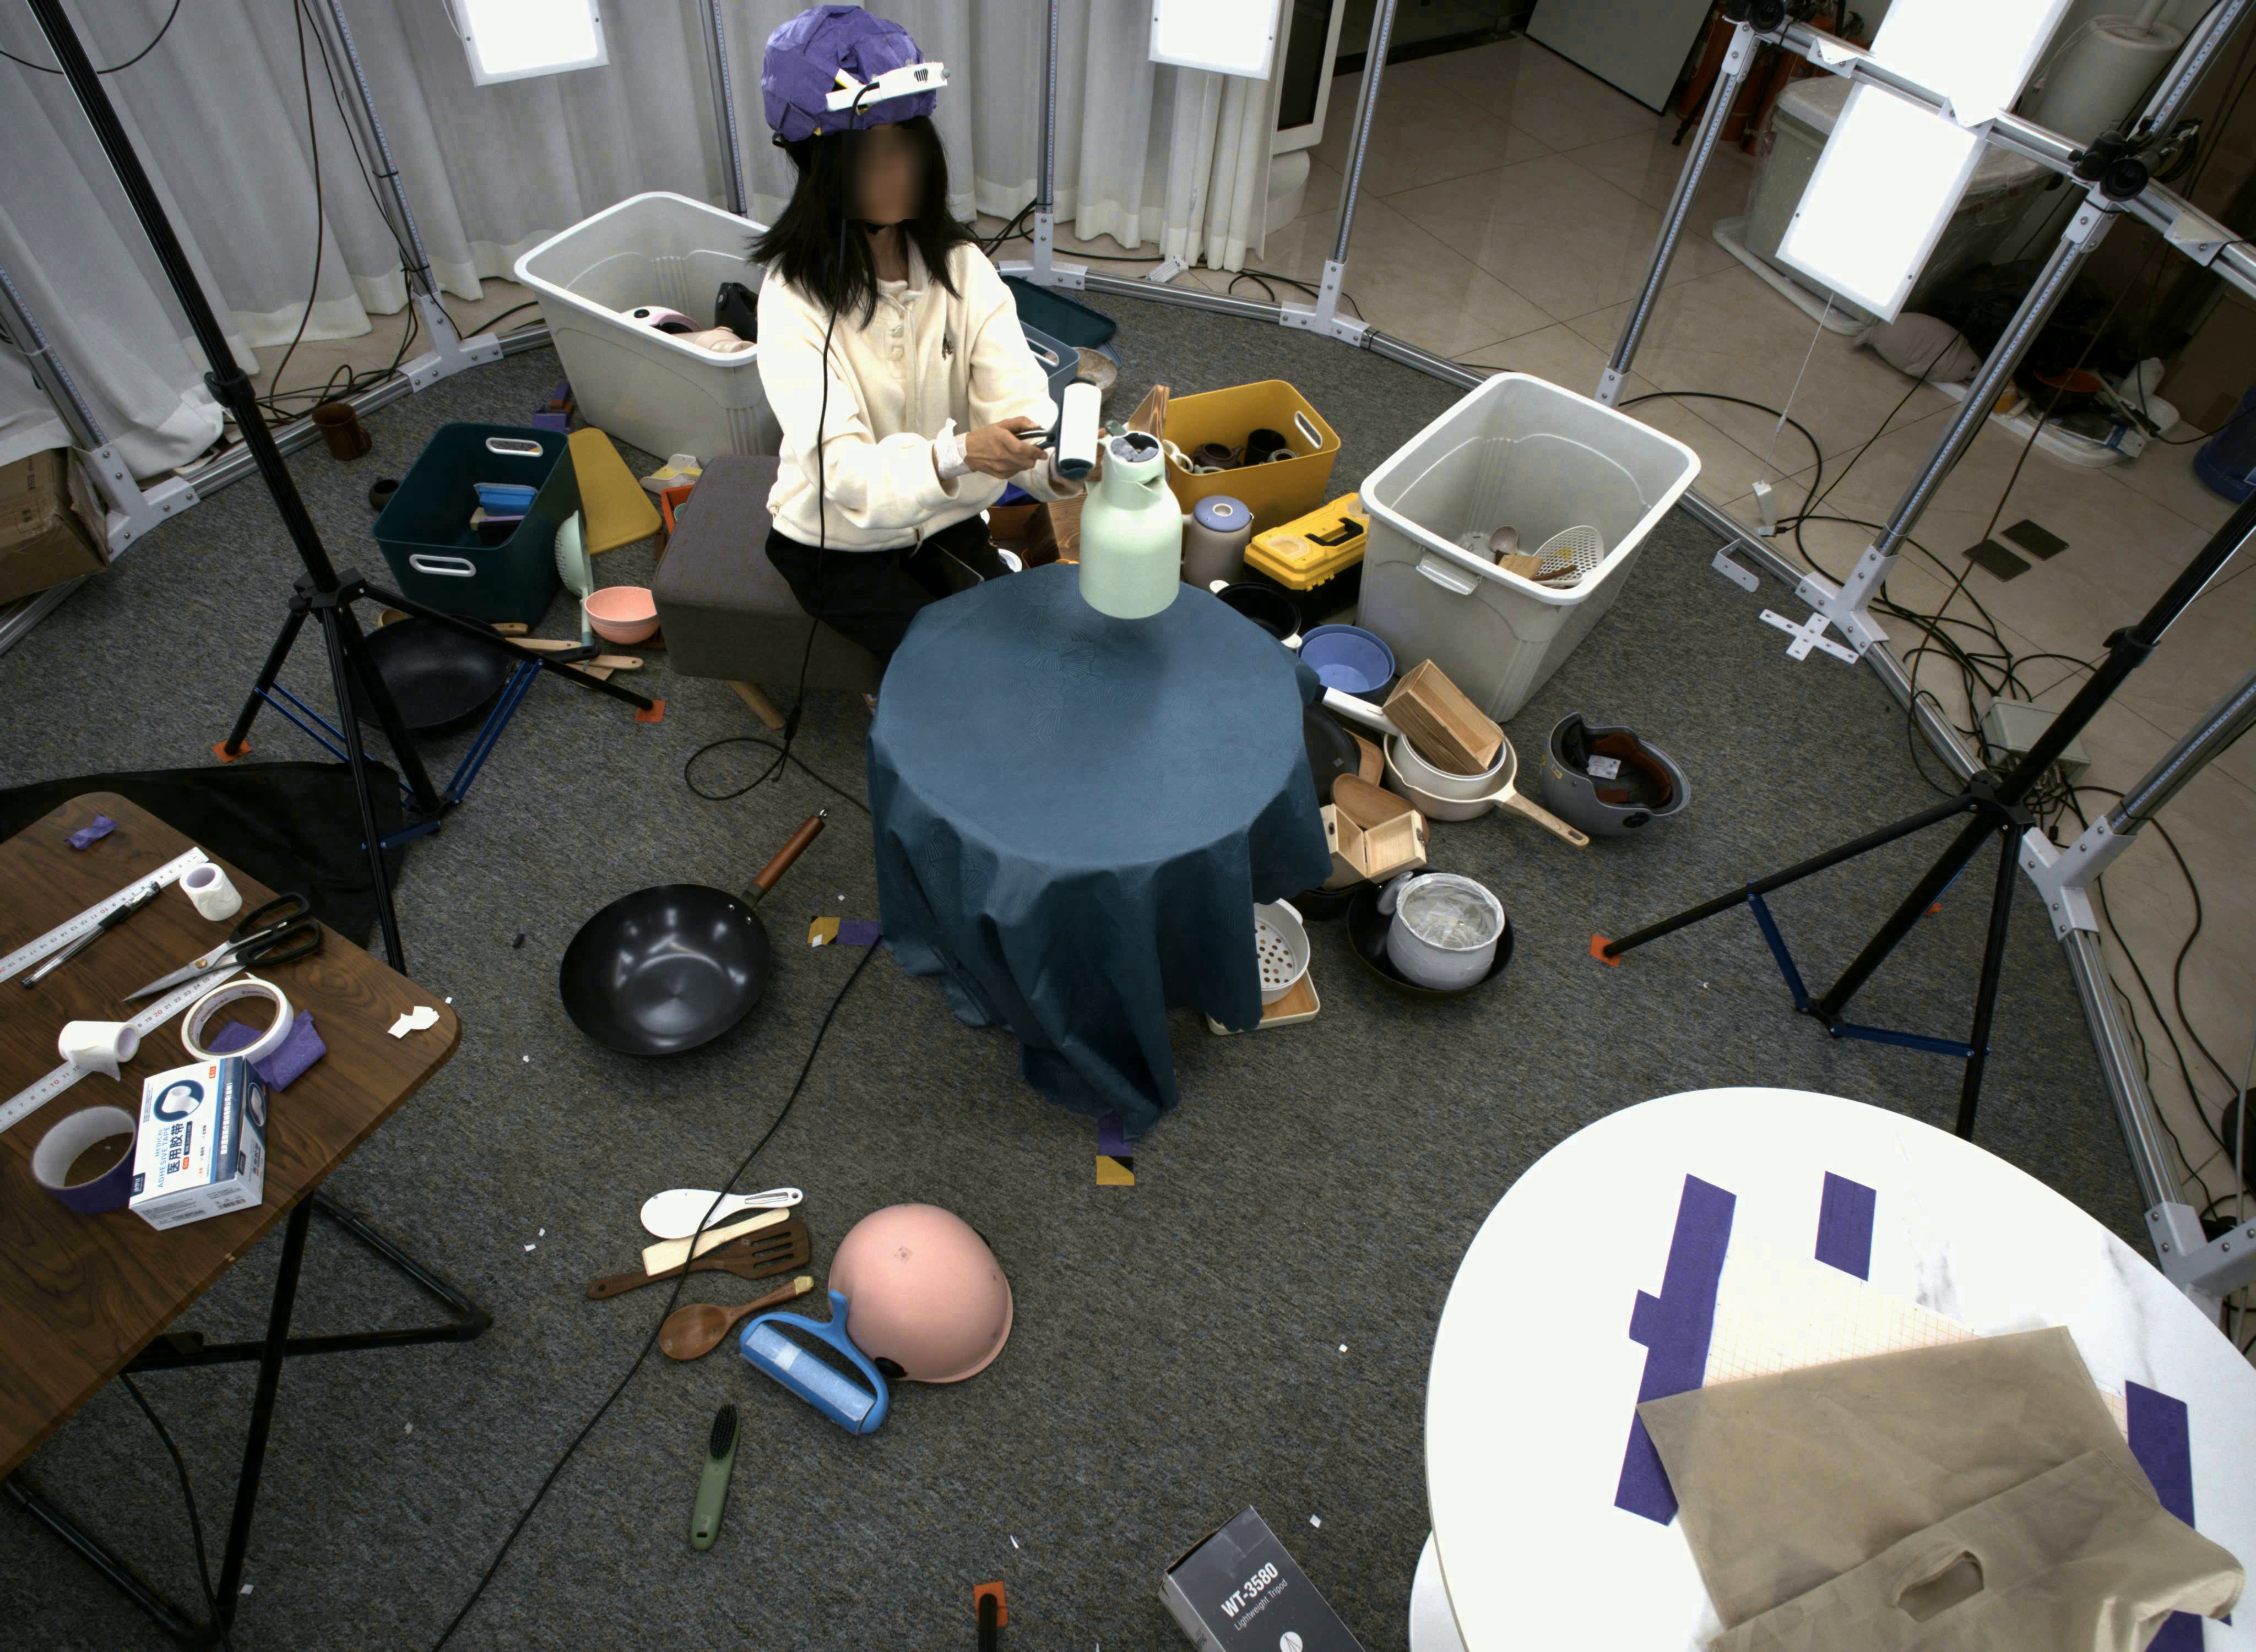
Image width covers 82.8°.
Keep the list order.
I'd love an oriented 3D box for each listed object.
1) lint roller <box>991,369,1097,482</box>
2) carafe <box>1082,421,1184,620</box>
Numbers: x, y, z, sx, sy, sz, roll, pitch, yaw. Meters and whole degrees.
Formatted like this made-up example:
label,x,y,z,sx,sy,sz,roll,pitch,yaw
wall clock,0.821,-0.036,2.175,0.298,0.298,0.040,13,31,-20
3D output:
label,x,y,z,sx,sy,sz,roll,pitch,yaw
lint roller,-0.121,-0.503,1.669,0.181,0.048,0.135,1,80,35
carafe,-0.001,-0.428,1.788,0.145,0.250,0.191,-25,53,-19
